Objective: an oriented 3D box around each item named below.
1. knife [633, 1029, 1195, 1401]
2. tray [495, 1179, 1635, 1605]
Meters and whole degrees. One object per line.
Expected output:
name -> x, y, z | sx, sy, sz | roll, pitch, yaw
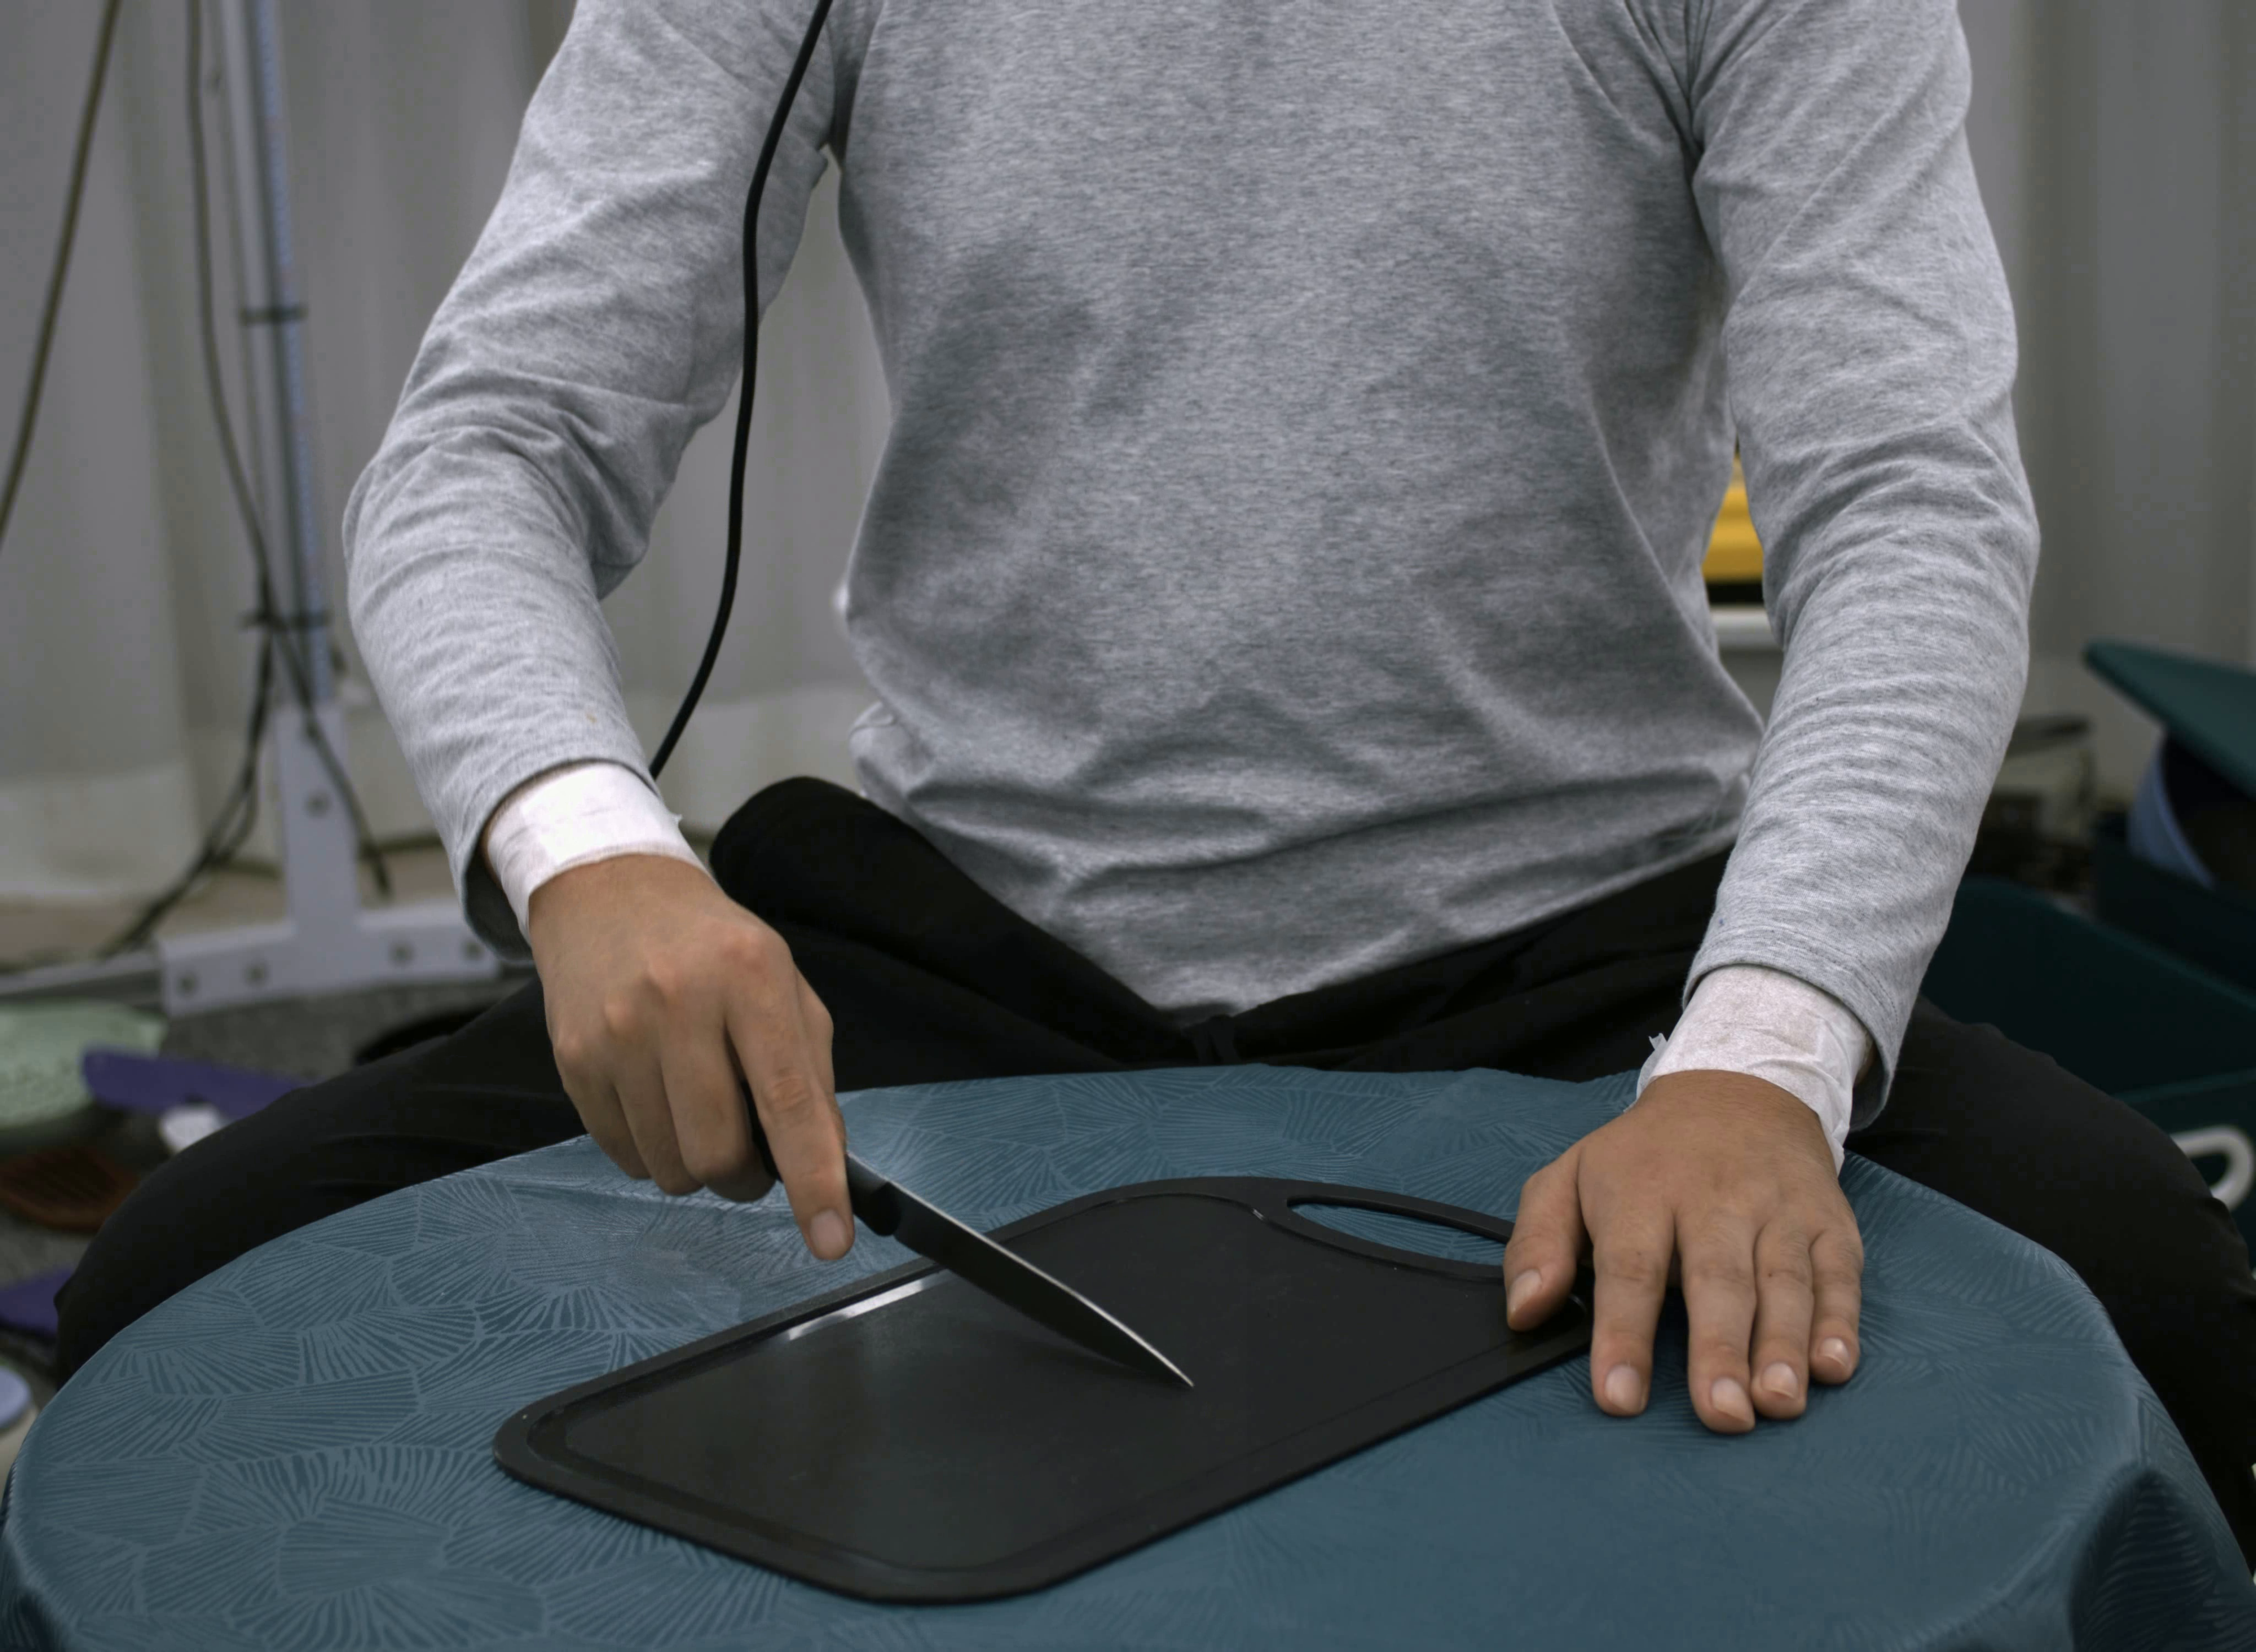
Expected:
knife -> -0.065, 0.113, 1.610 | 0.016, 0.024, 0.240 | -27, 42, -37
tray -> -0.009, 0.152, 1.566 | 0.212, 0.010, 0.325 | 12, 21, 44
